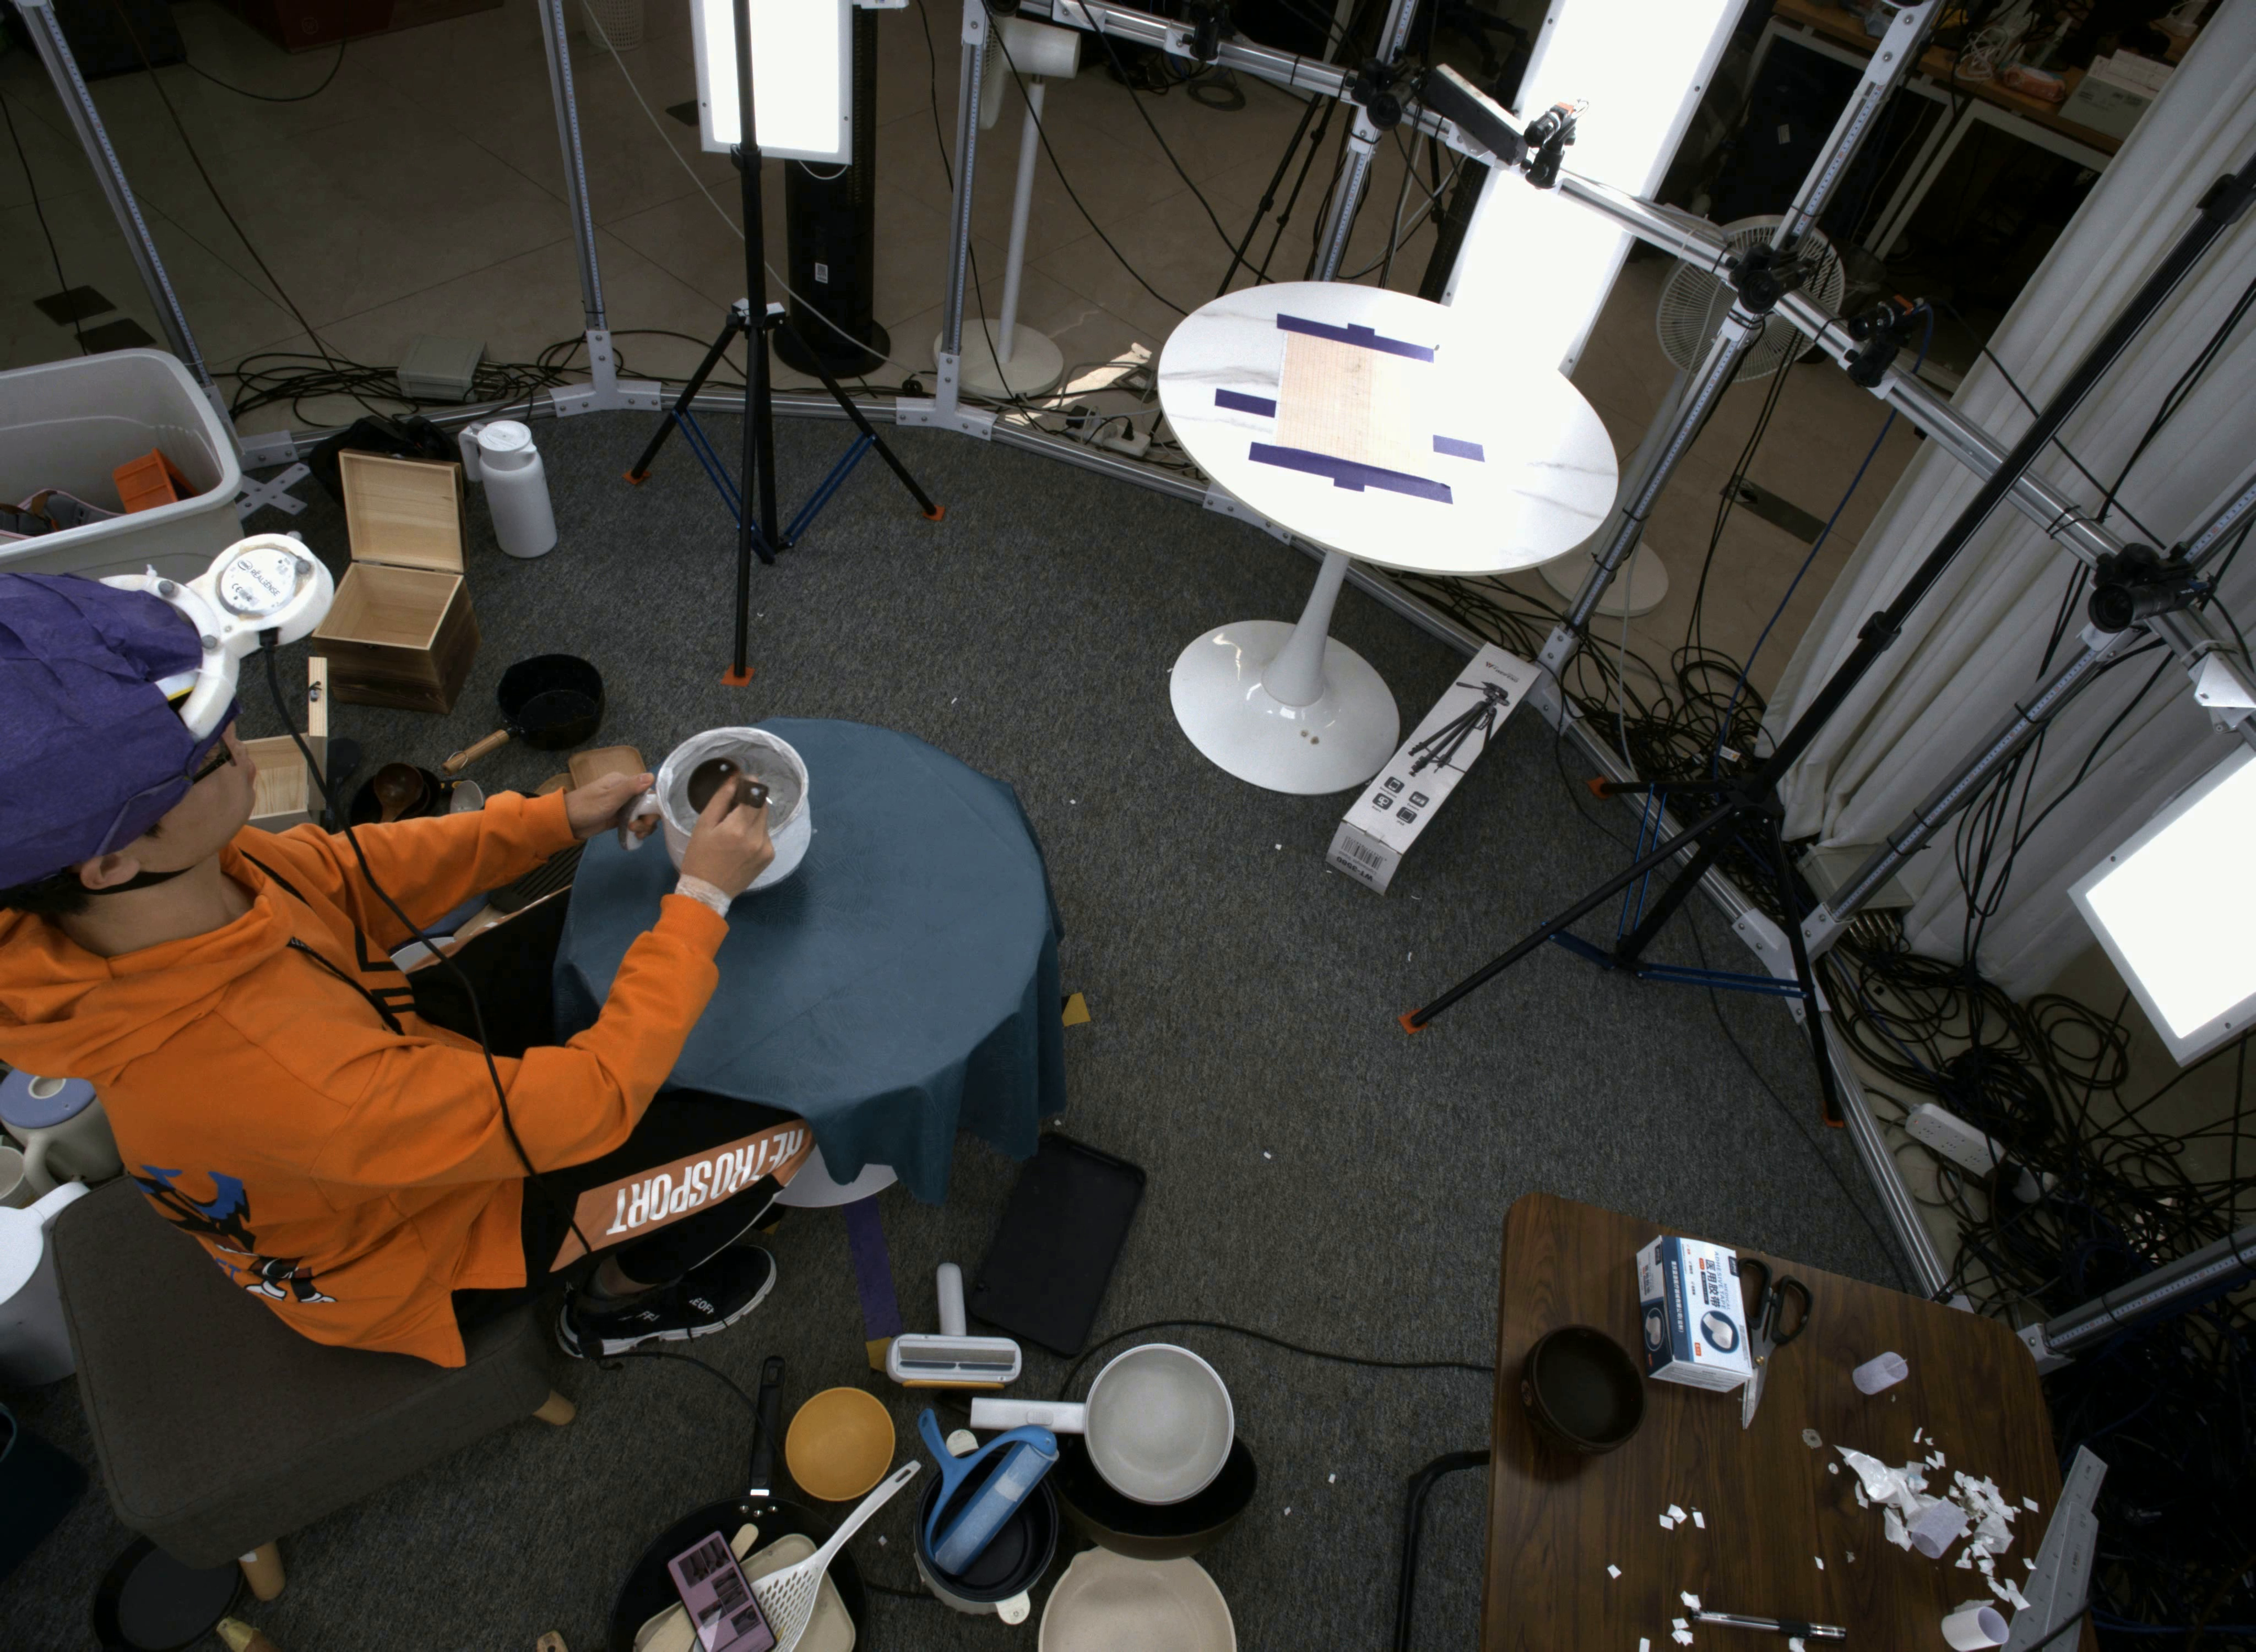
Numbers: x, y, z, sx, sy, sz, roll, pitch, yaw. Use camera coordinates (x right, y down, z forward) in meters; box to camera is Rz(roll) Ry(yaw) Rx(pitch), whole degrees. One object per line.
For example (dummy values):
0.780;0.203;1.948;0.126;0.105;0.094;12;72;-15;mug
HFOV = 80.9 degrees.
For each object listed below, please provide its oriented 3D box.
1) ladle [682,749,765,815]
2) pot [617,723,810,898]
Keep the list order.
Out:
-0.443;-0.052;1.399;0.072;0.268;0.076;22;82;-20;ladle
-0.504;-0.014;1.558;0.234;0.139;0.175;-3;55;-15;pot
